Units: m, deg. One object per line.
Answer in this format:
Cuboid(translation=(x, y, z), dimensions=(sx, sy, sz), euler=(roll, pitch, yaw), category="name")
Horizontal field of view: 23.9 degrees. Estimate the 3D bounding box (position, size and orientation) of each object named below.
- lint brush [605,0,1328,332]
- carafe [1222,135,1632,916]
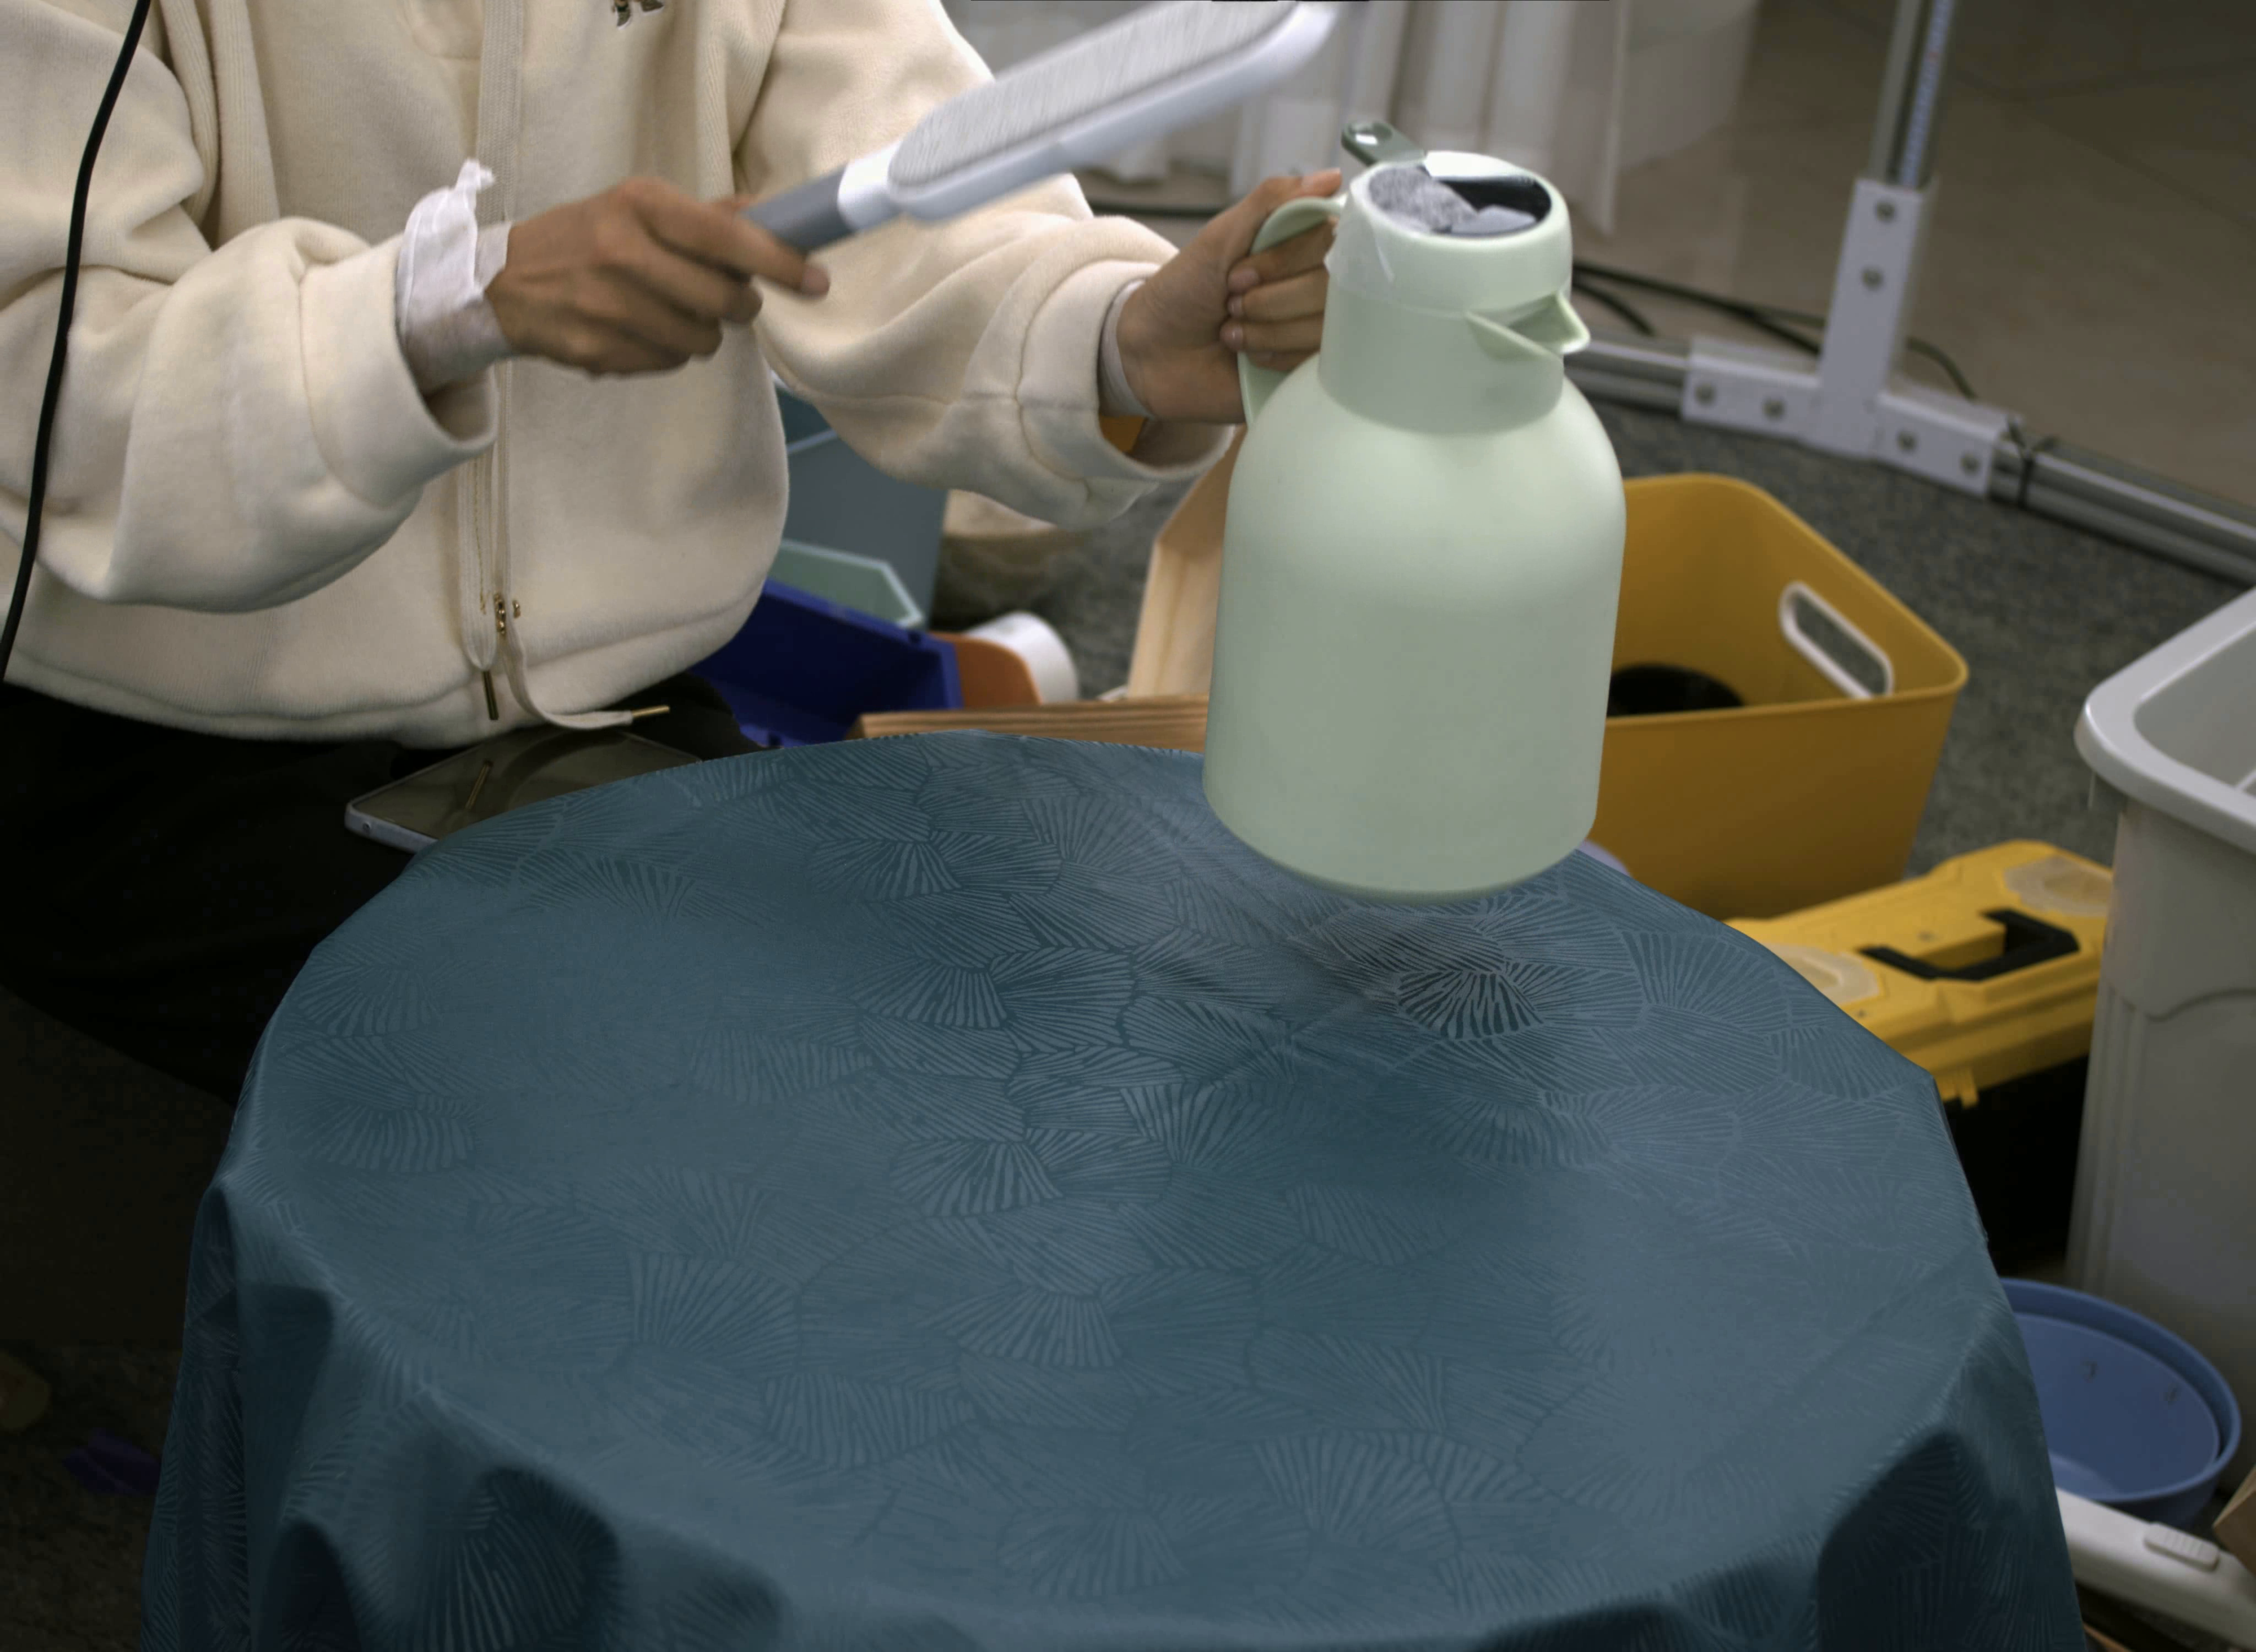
Cuboid(translation=(-0.060, -0.224, 1.800), dimensions=(0.309, 0.021, 0.060), euler=(-18, 39, 34), category="lint brush")
Cuboid(translation=(0.100, -0.112, 1.895), dimensions=(0.143, 0.256, 0.188), euler=(-16, 32, -26), category="carafe")
